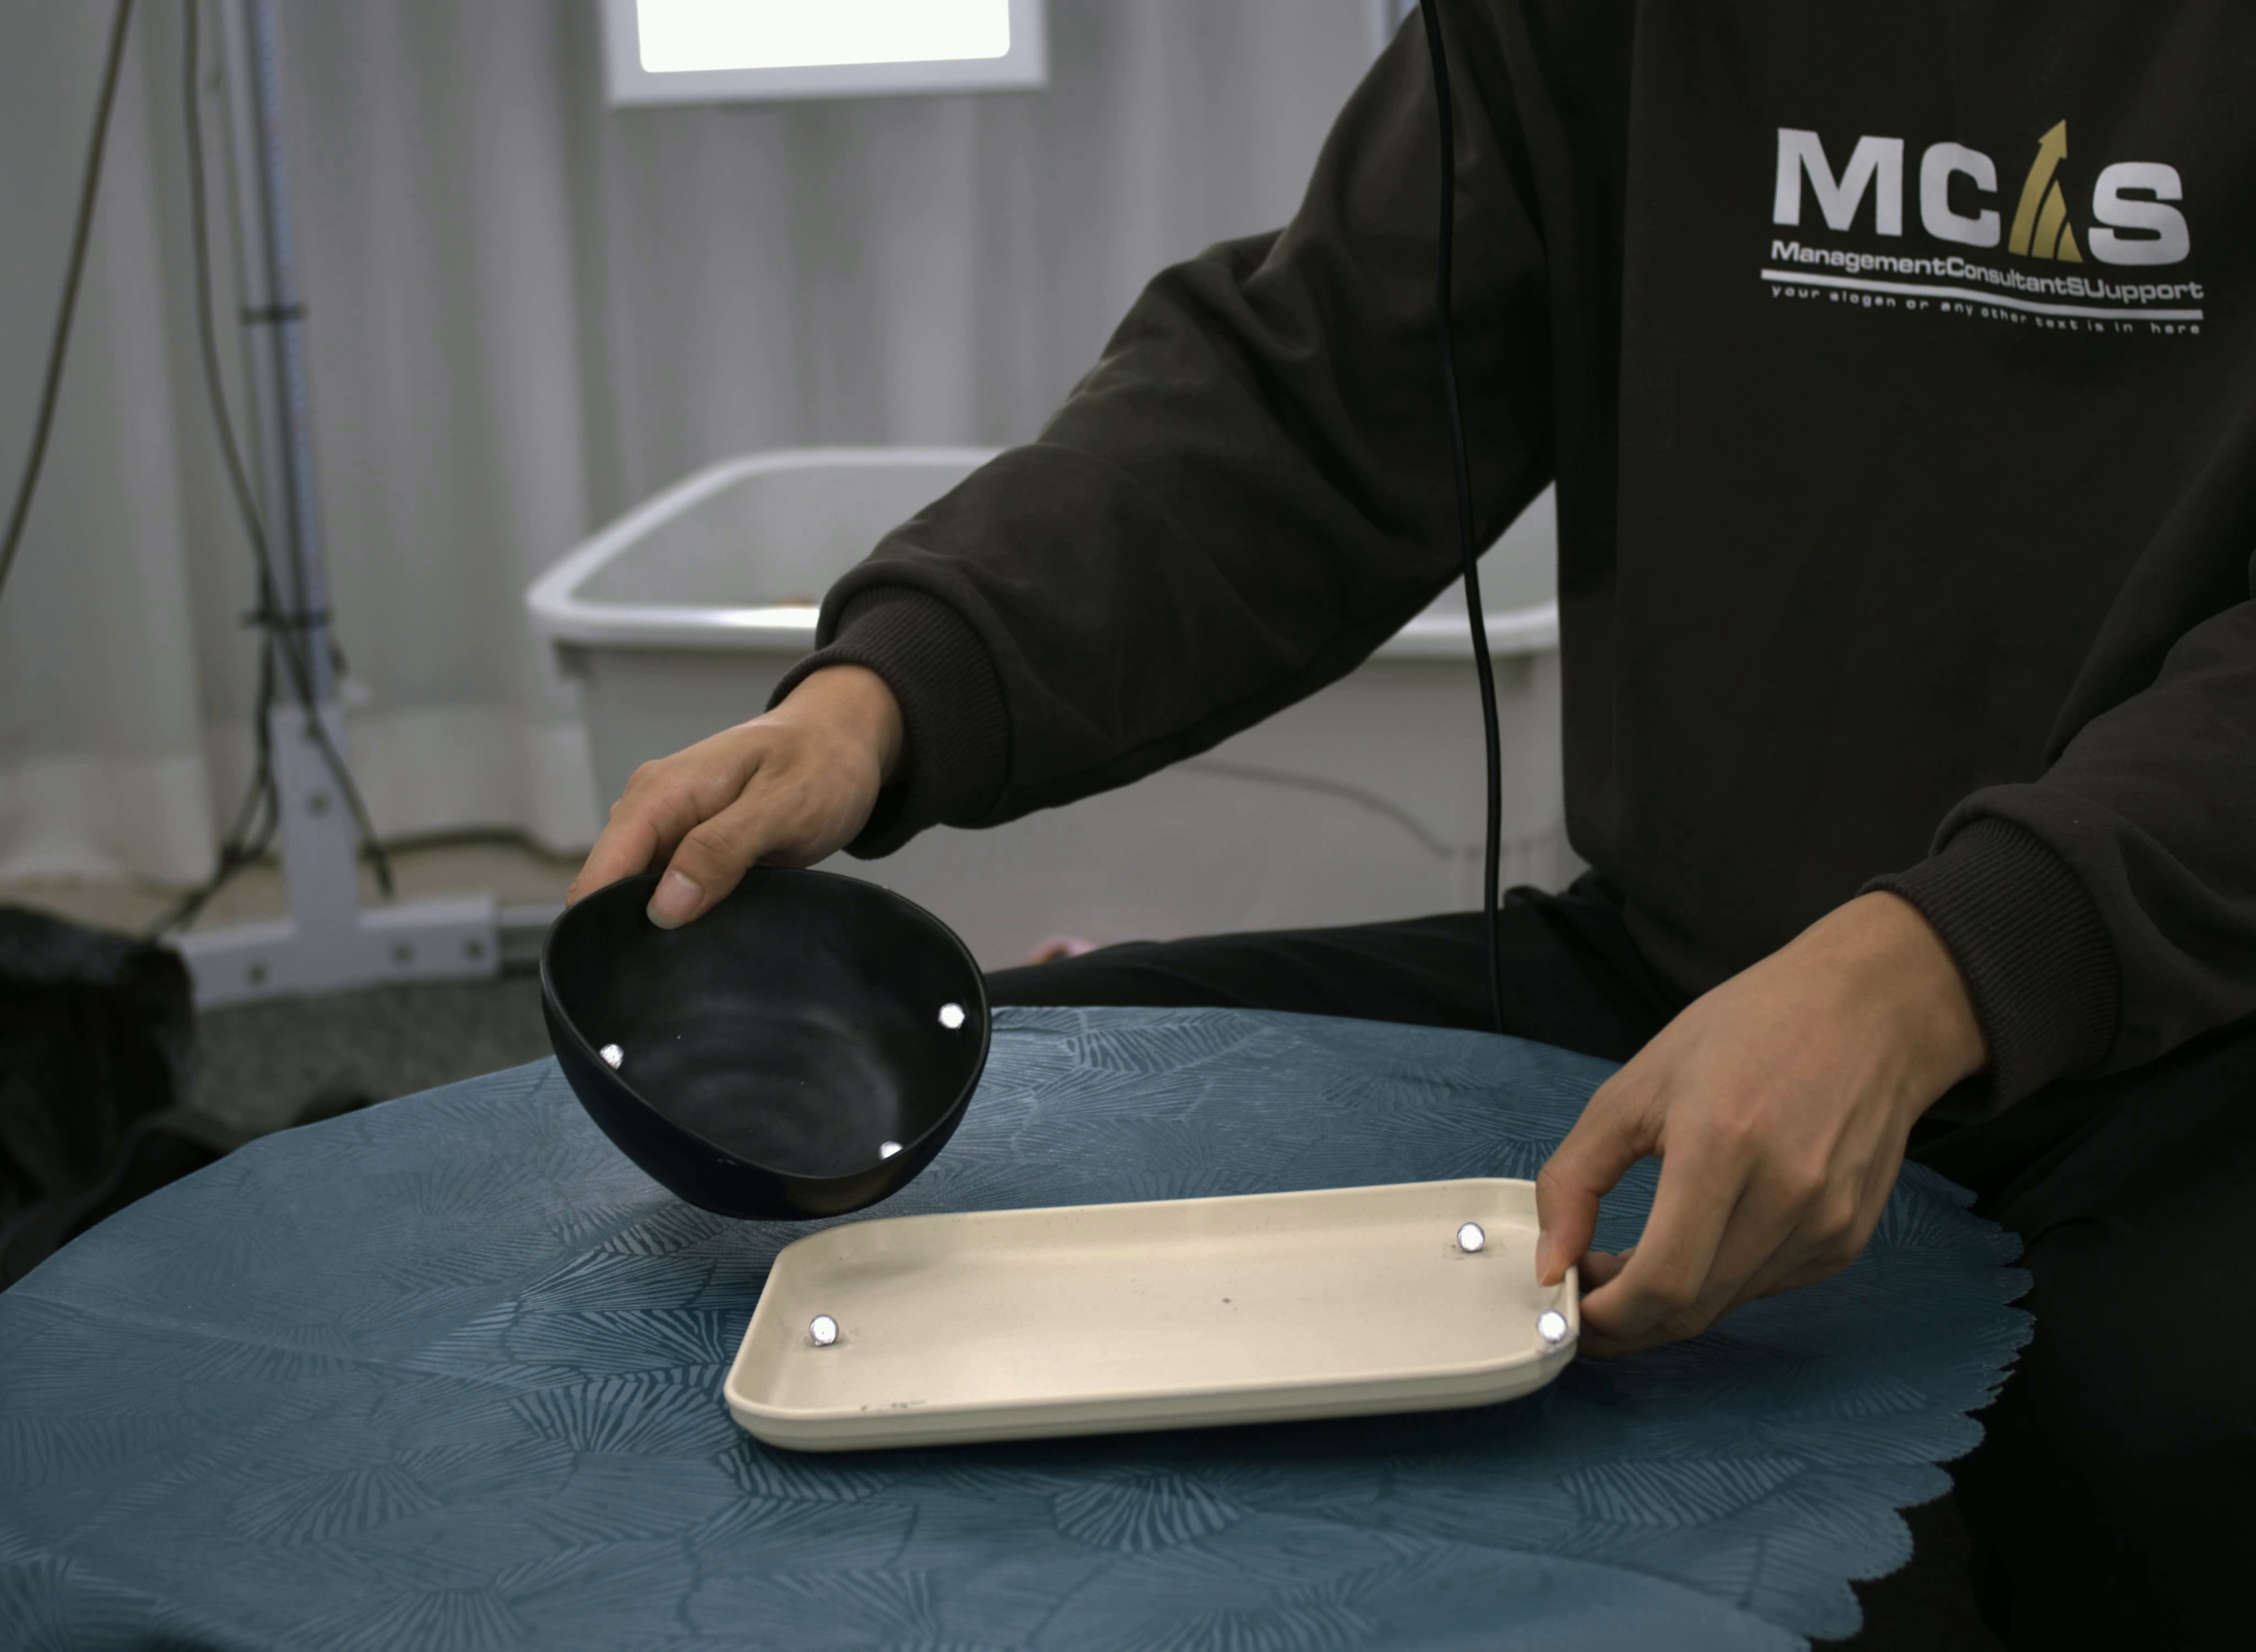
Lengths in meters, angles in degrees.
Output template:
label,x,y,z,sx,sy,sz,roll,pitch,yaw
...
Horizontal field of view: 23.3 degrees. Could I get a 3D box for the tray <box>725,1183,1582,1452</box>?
label,x,y,z,sx,sy,sz,roll,pitch,yaw
tray,0.010,0.141,1.563,0.239,0.017,0.172,-4,13,5

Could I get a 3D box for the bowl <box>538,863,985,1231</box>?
label,x,y,z,sx,sy,sz,roll,pitch,yaw
bowl,-0.115,0.078,1.705,0.136,0.066,0.173,-6,34,-19
